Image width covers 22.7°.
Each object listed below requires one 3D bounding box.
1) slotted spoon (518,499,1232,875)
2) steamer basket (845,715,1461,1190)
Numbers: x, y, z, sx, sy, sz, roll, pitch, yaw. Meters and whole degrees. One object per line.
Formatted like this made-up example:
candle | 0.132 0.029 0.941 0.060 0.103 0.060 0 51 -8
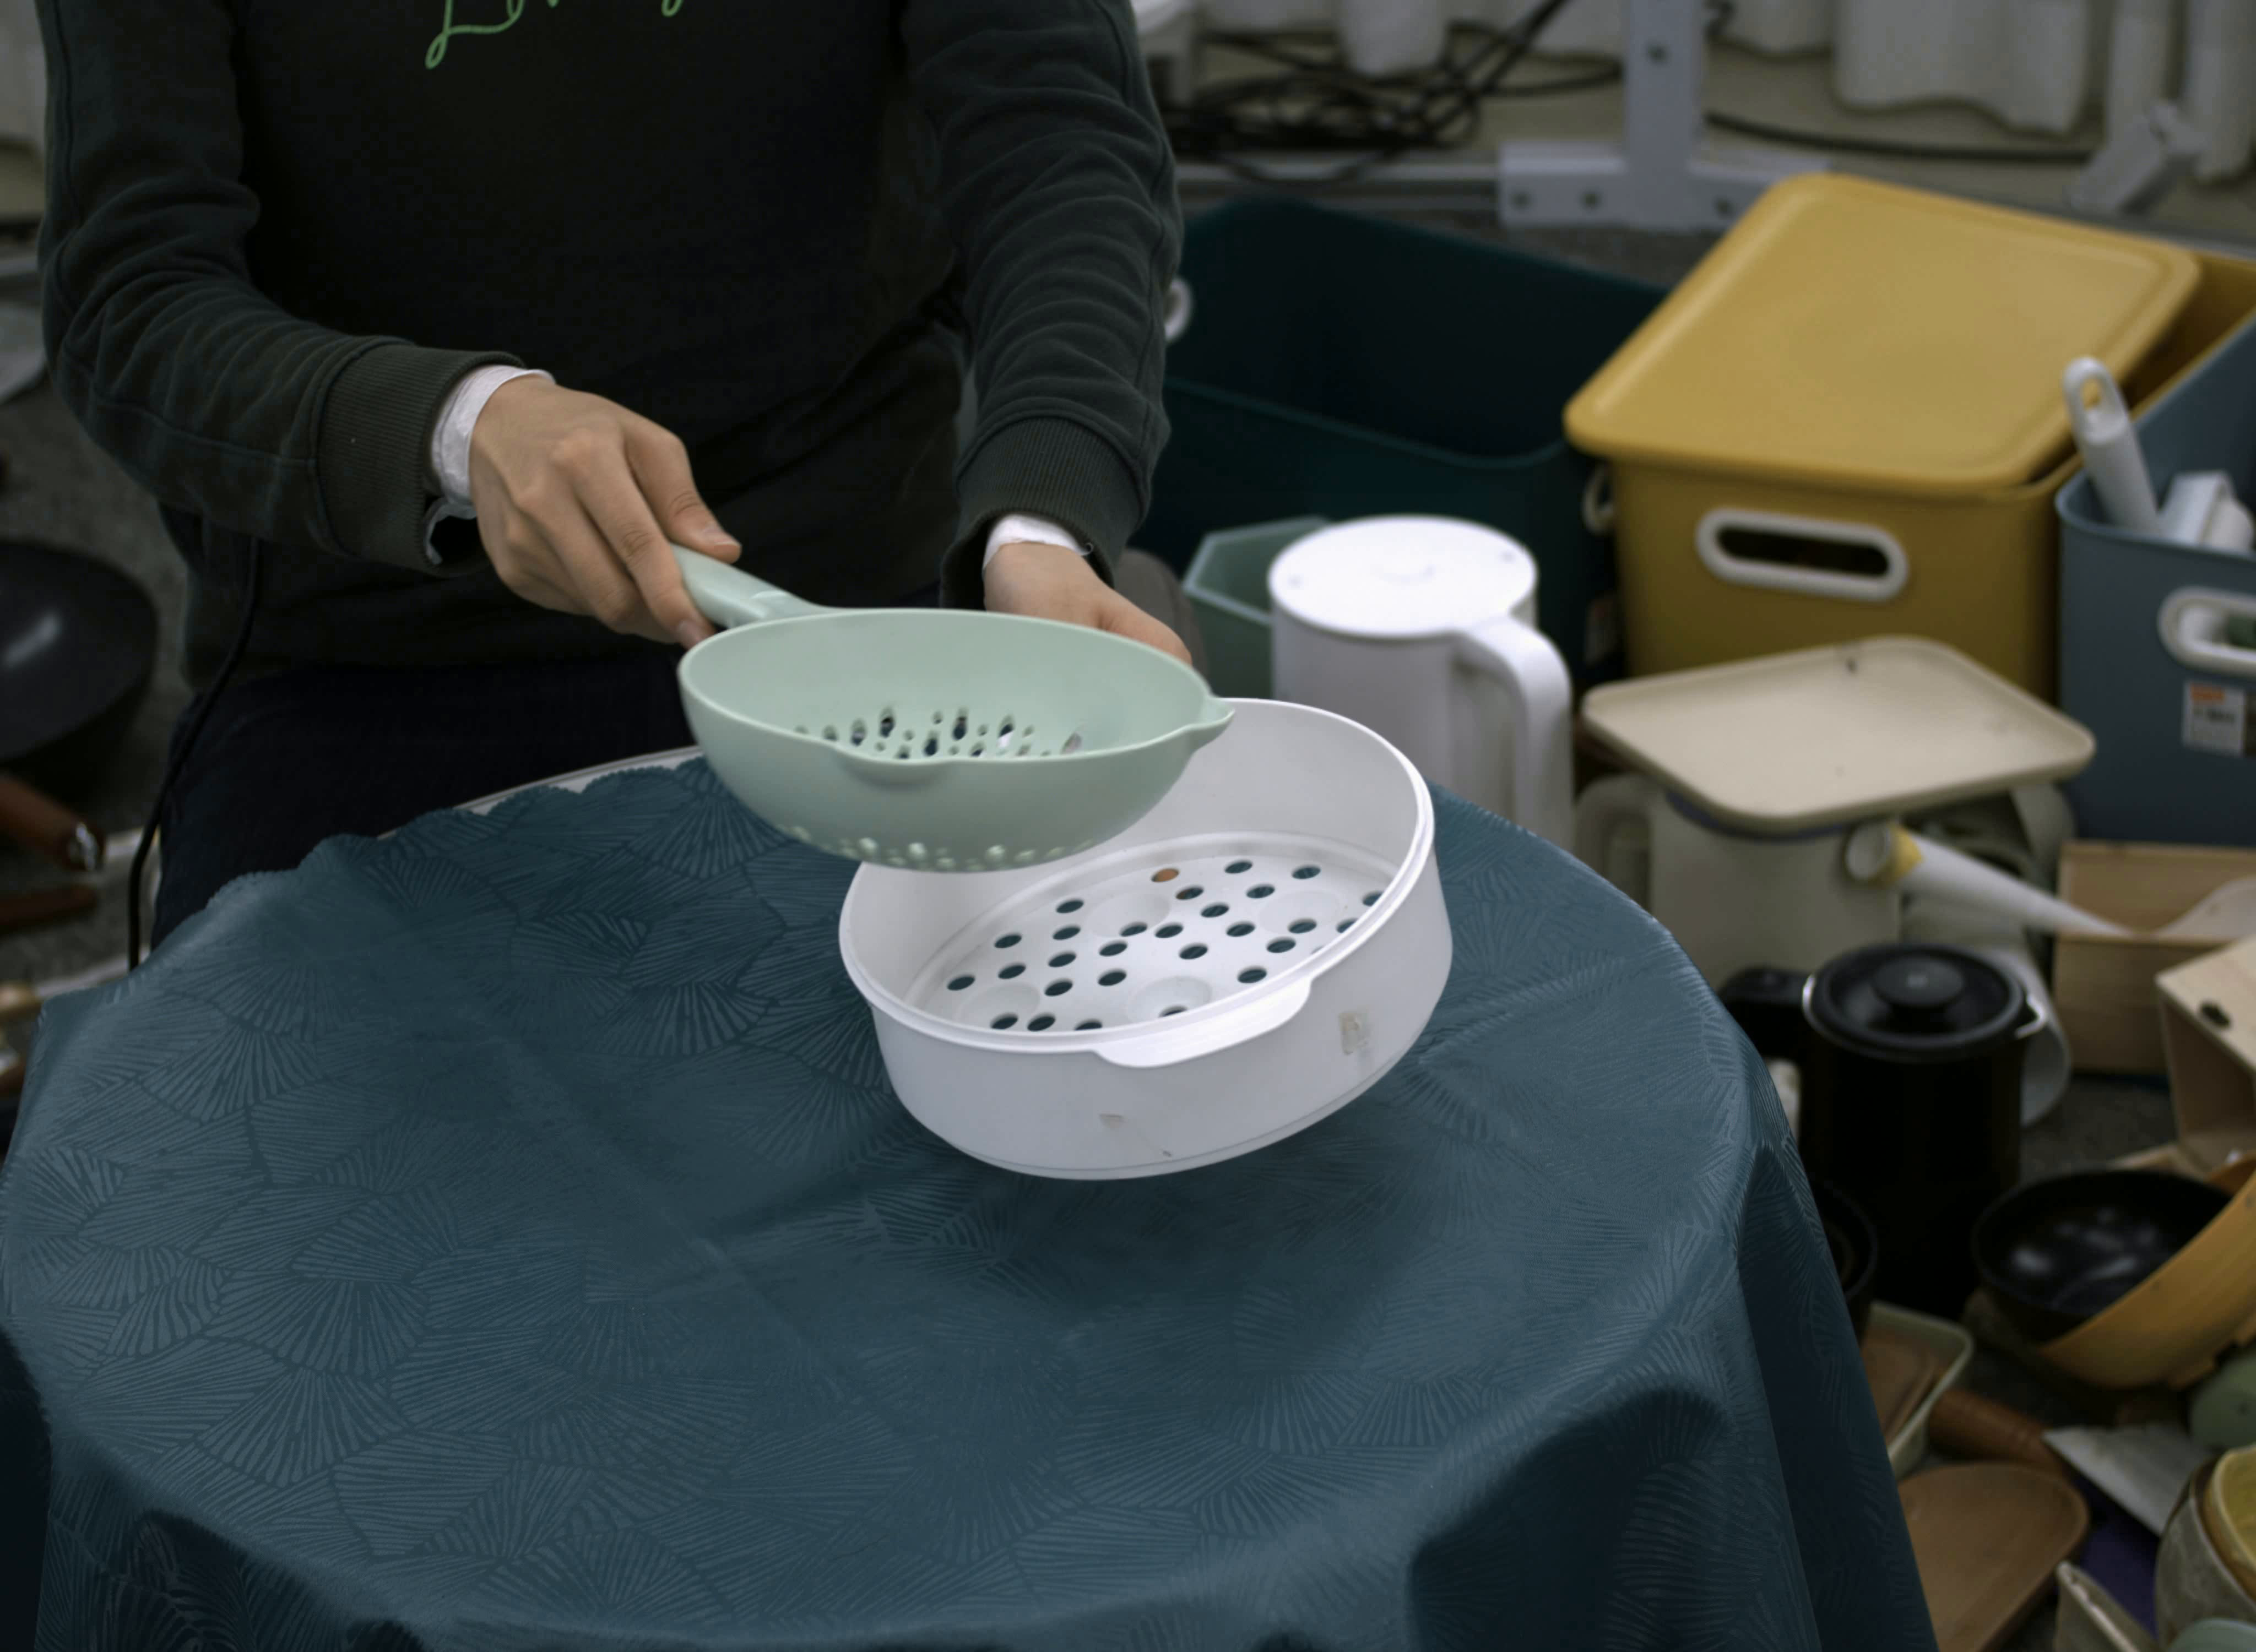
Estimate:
slotted spoon | -0.113 -0.061 1.864 0.170 0.074 0.360 -6 27 -33
steamer basket | 0.011 0.042 1.853 0.202 0.068 0.233 -17 30 -7
